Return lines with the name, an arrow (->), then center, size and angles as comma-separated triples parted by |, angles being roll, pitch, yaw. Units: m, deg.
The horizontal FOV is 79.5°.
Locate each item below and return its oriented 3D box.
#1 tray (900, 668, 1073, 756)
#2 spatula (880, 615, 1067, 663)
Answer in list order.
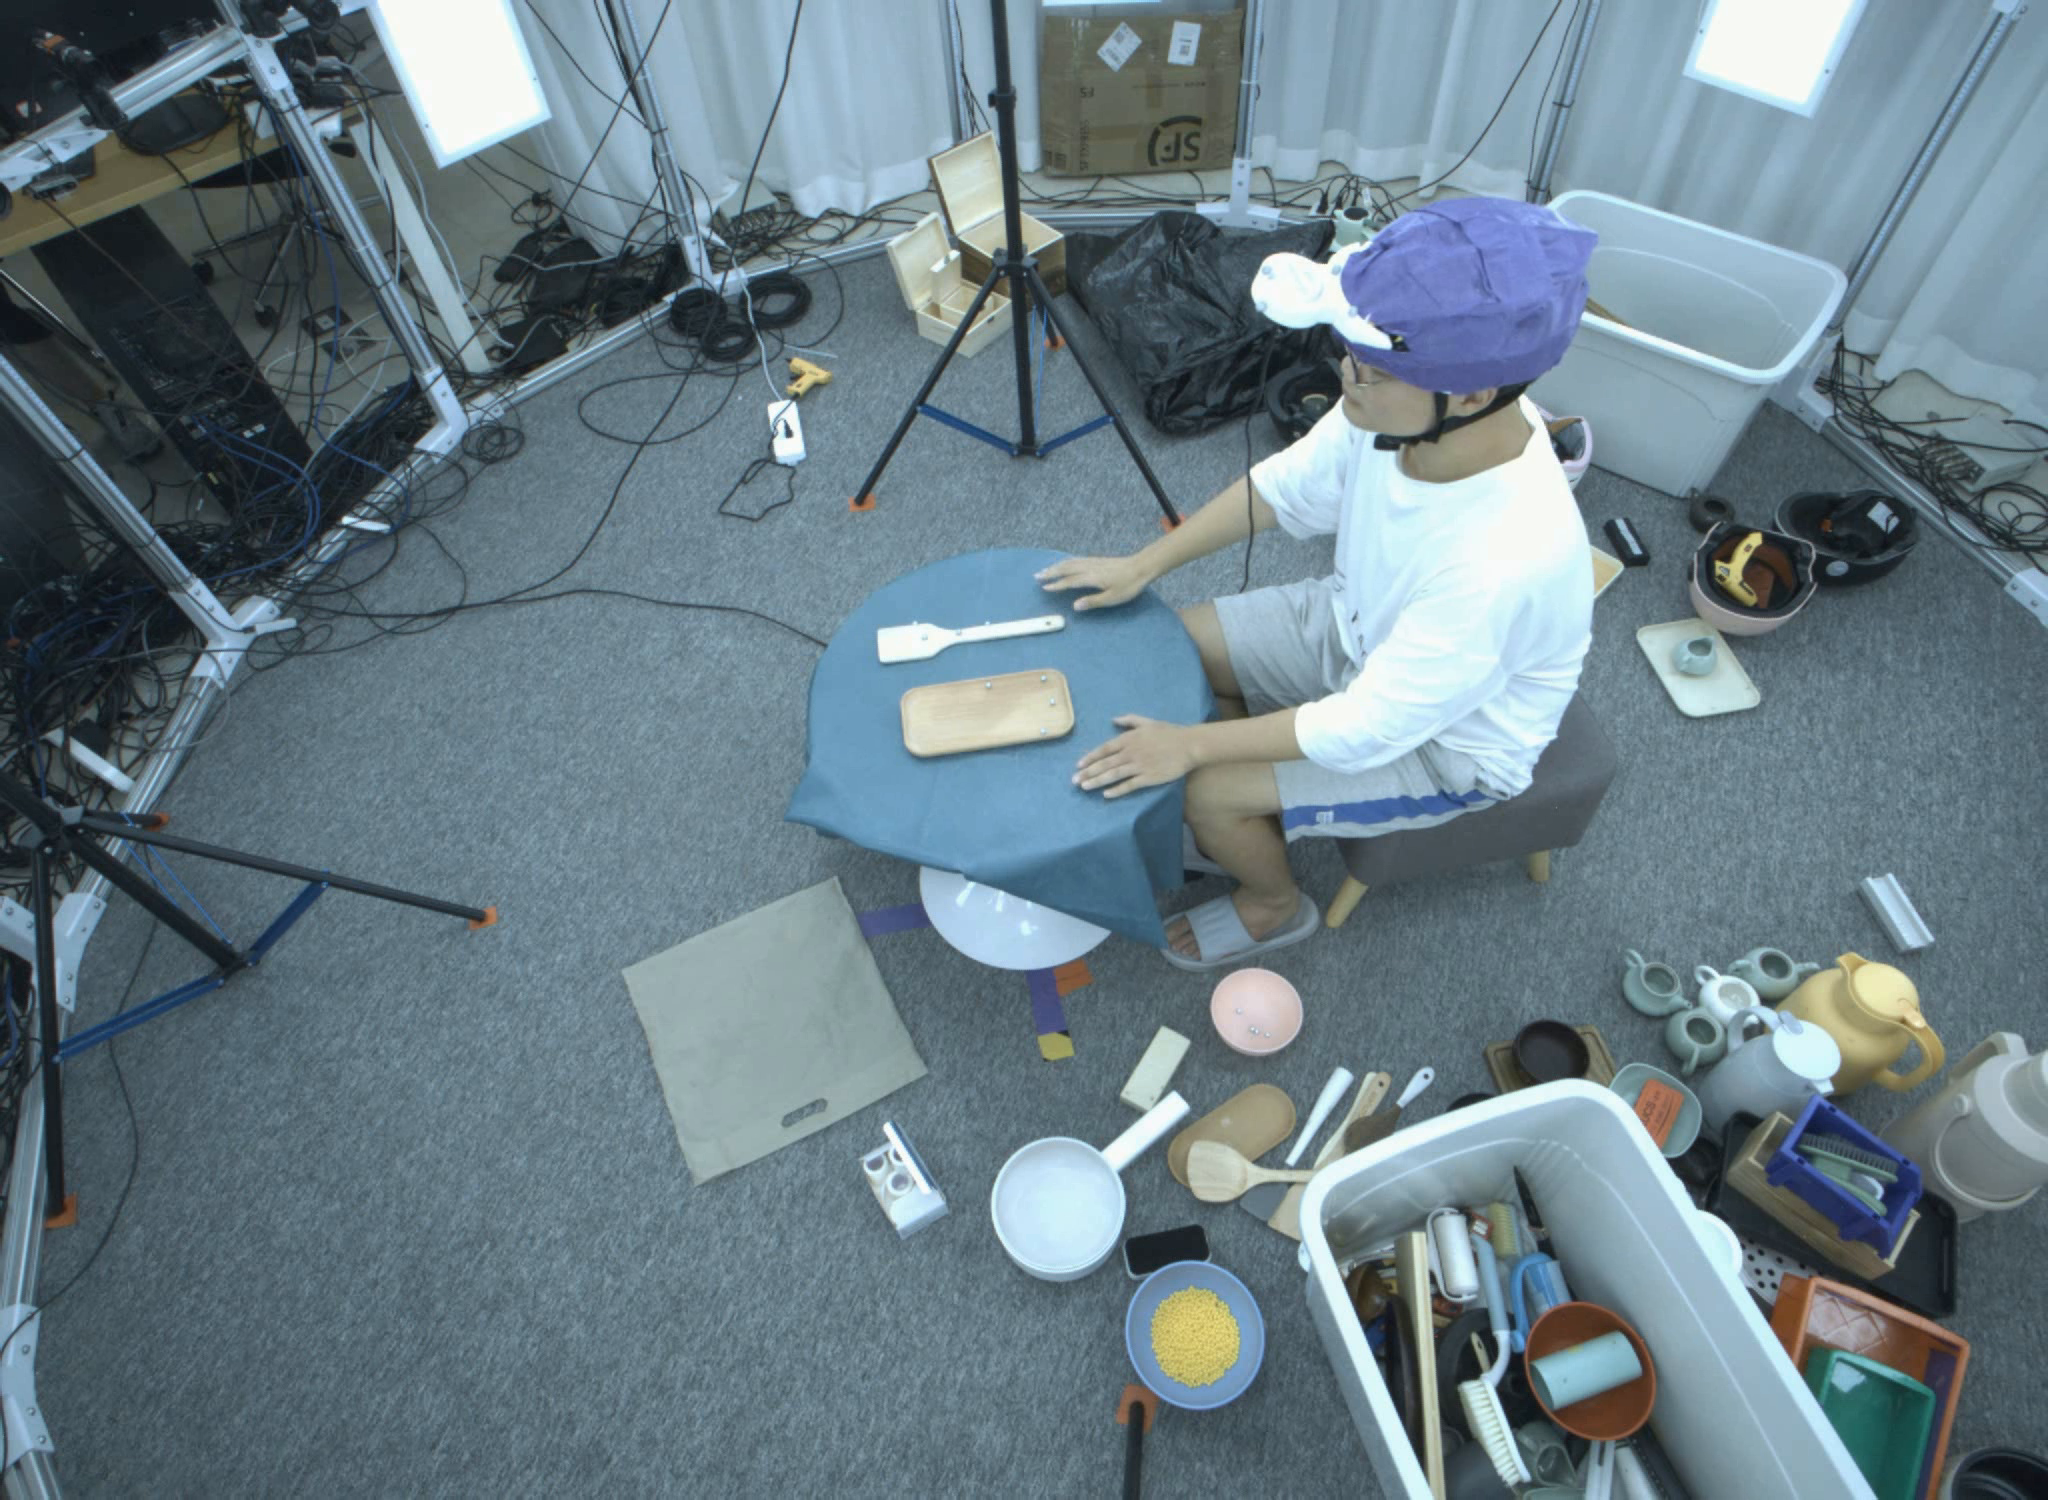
tray -> -0.056, -0.056, 1.817 | 0.251, 0.023, 0.129 | -8, 52, -3
spatula -> -0.078, -0.181, 1.911 | 0.294, 0.011, 0.071 | -8, 53, -4
